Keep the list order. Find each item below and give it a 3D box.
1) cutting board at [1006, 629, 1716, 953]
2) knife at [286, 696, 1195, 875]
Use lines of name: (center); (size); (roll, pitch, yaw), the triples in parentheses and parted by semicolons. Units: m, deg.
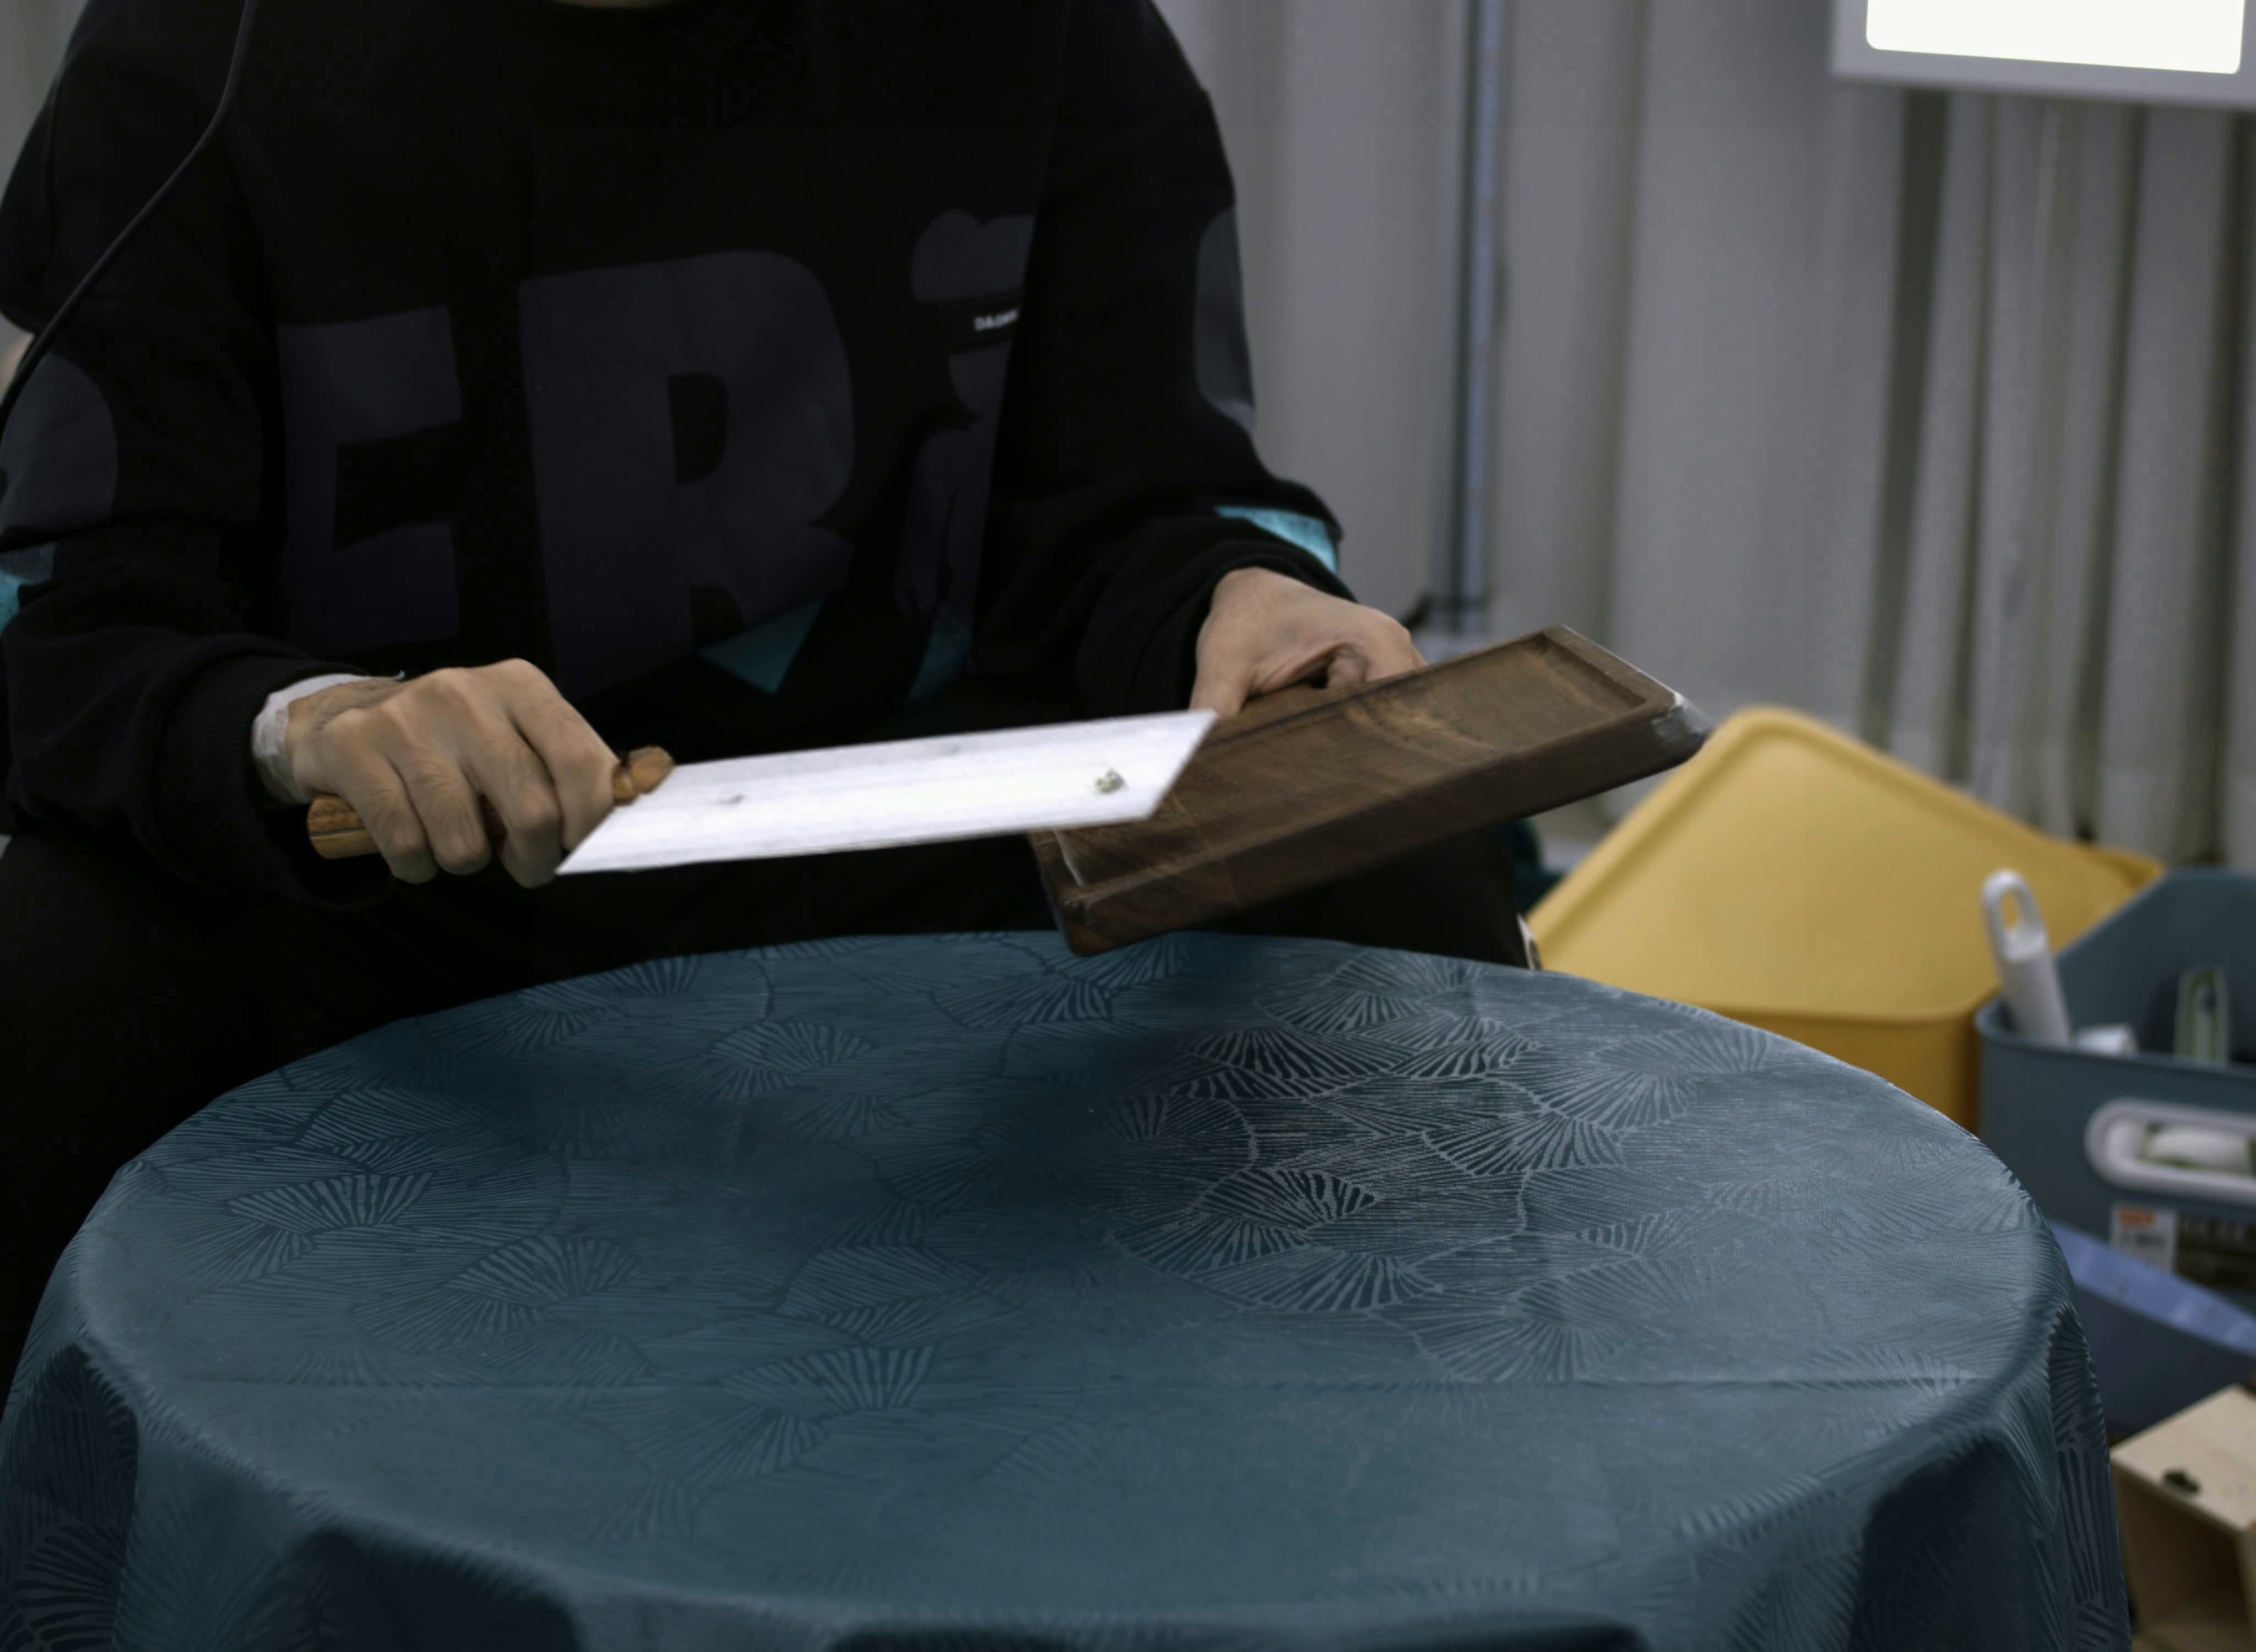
cutting board: (0.061, -0.020, 1.697); (0.200, 0.023, 0.350); (-18, 8, -3)
knife: (-0.129, -0.008, 1.618); (0.303, 0.021, 0.092); (-6, 20, 17)
